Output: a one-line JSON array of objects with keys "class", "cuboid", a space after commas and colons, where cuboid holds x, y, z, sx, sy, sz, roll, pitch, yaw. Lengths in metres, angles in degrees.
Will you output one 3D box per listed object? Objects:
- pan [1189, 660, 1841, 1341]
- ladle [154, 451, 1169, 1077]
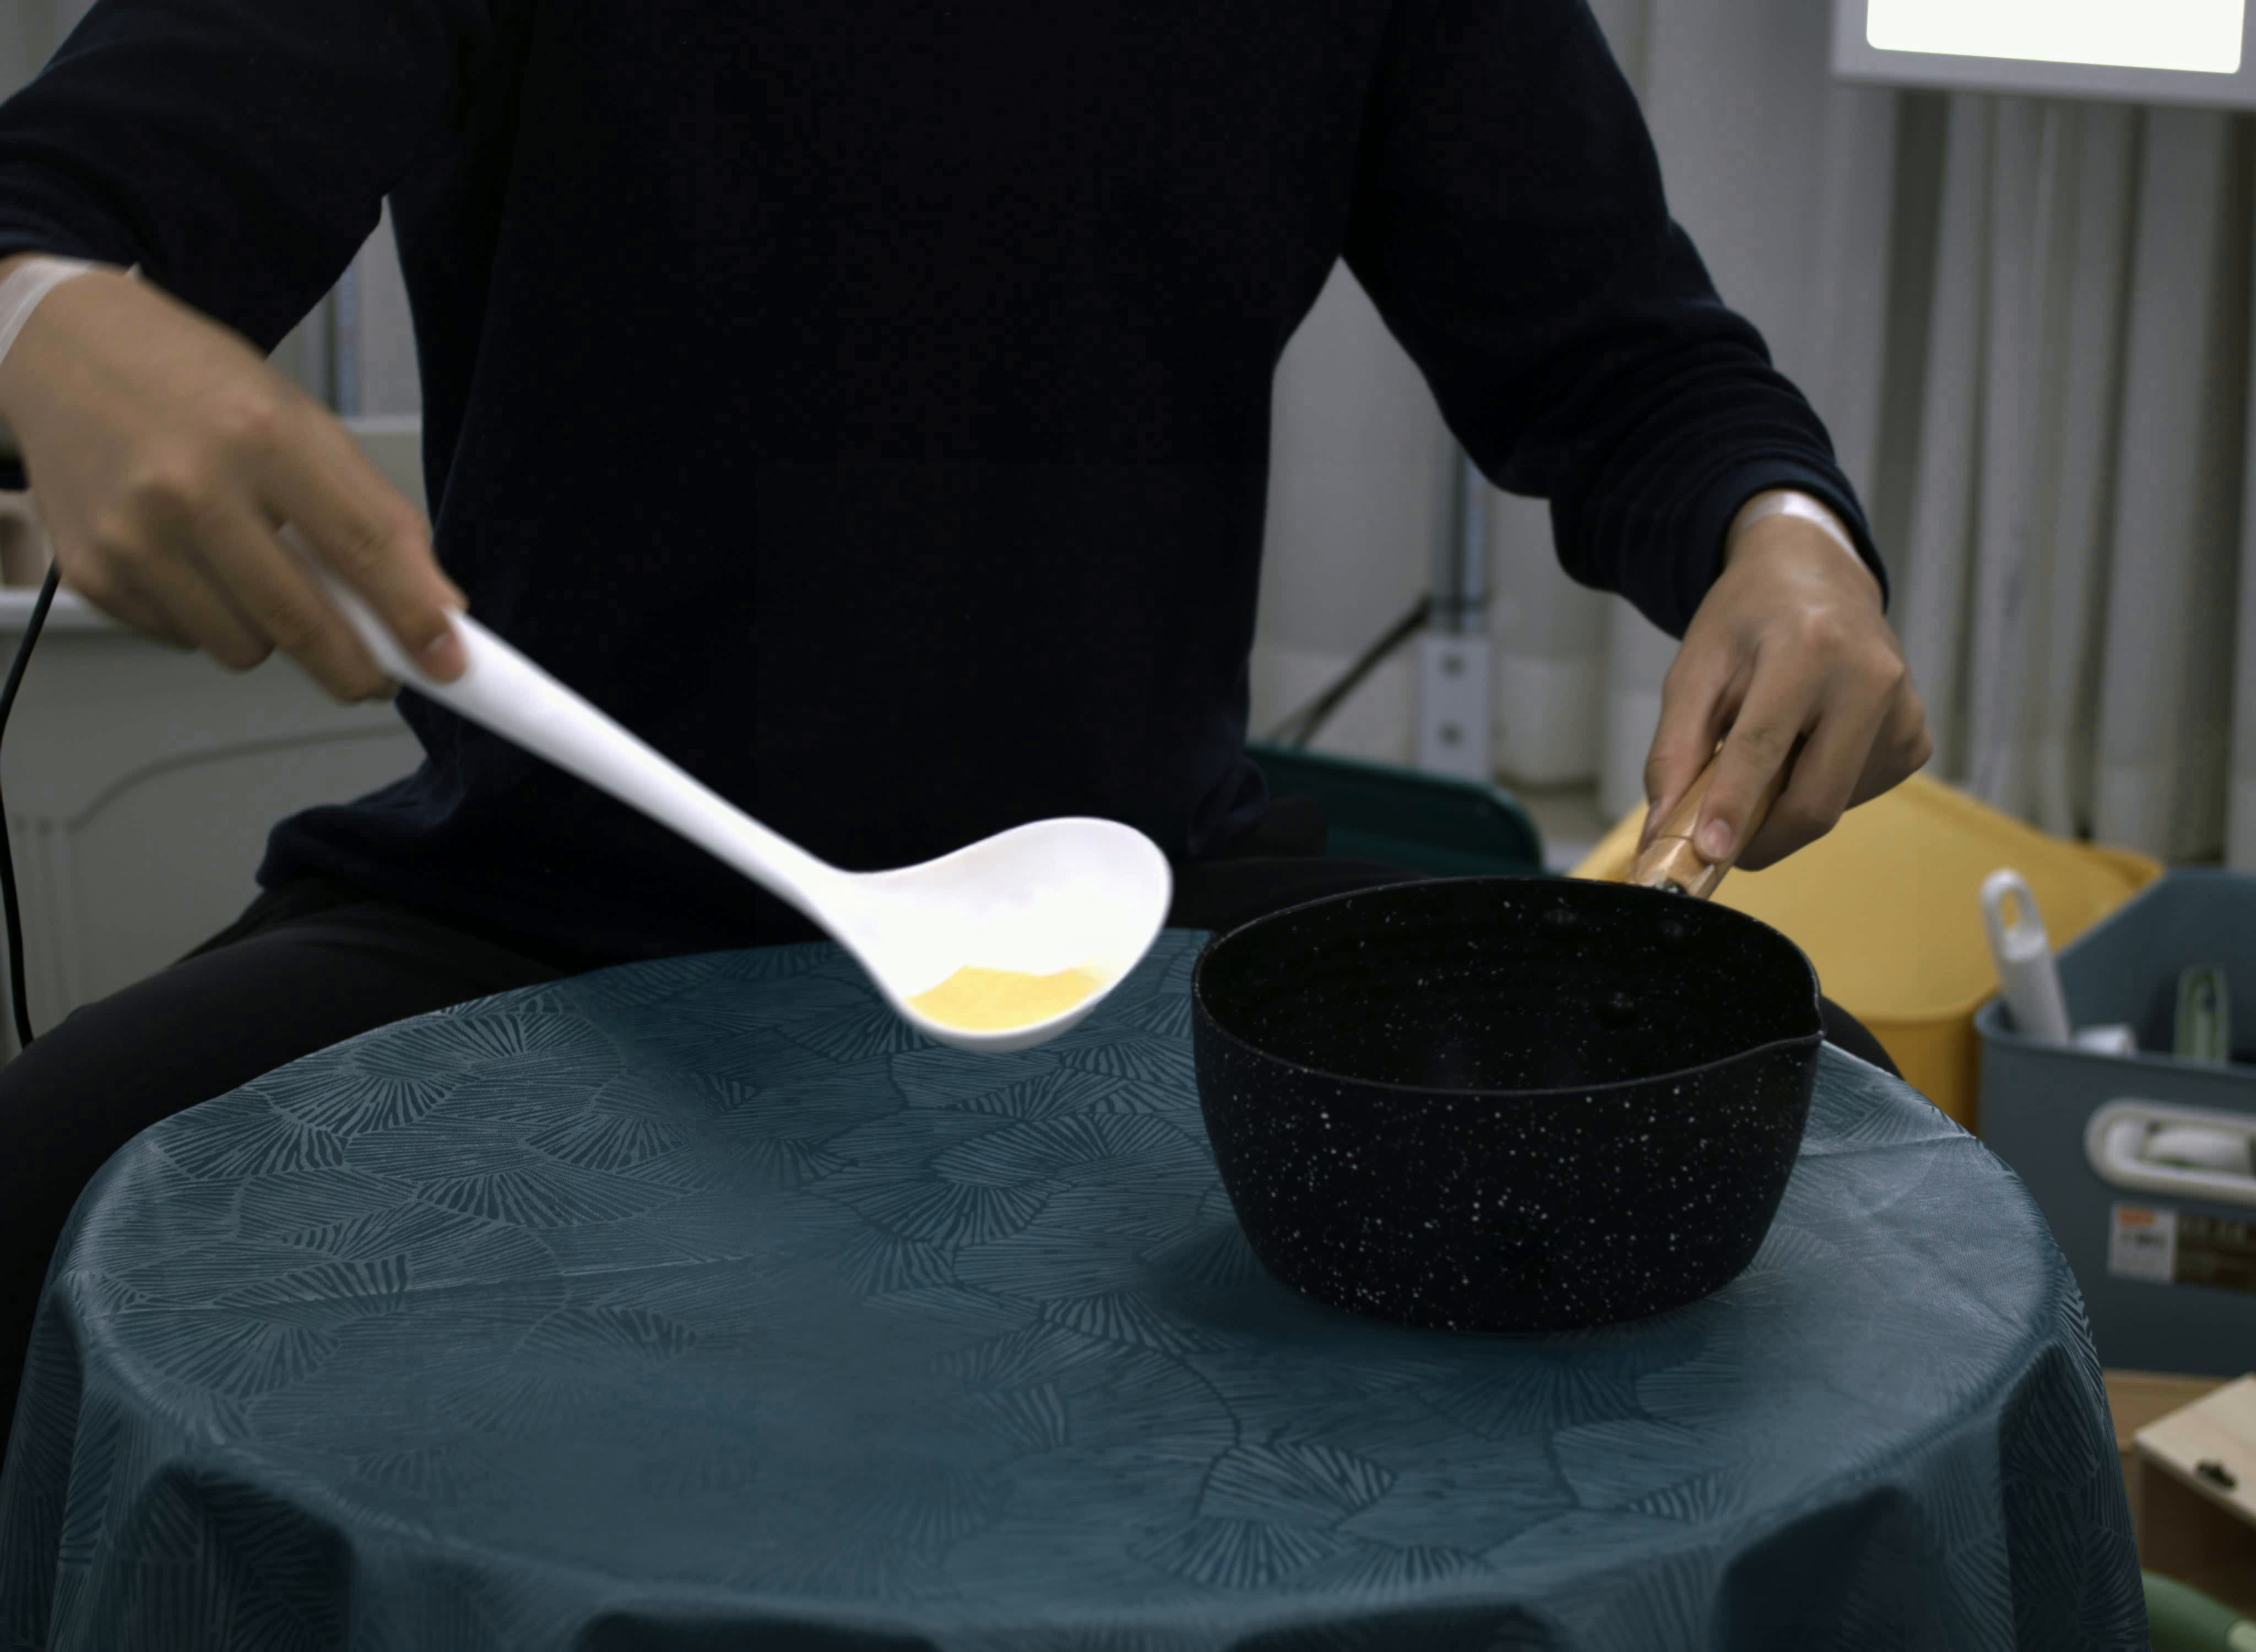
[{"class": "pan", "cuboid": [0.147, 0.048, 1.621, 0.205, 0.109, 0.343, 7, 22, 26]}, {"class": "ladle", "cuboid": [-0.129, -0.023, 1.432, 0.293, 0.070, 0.090, 31, 57, -4]}]
